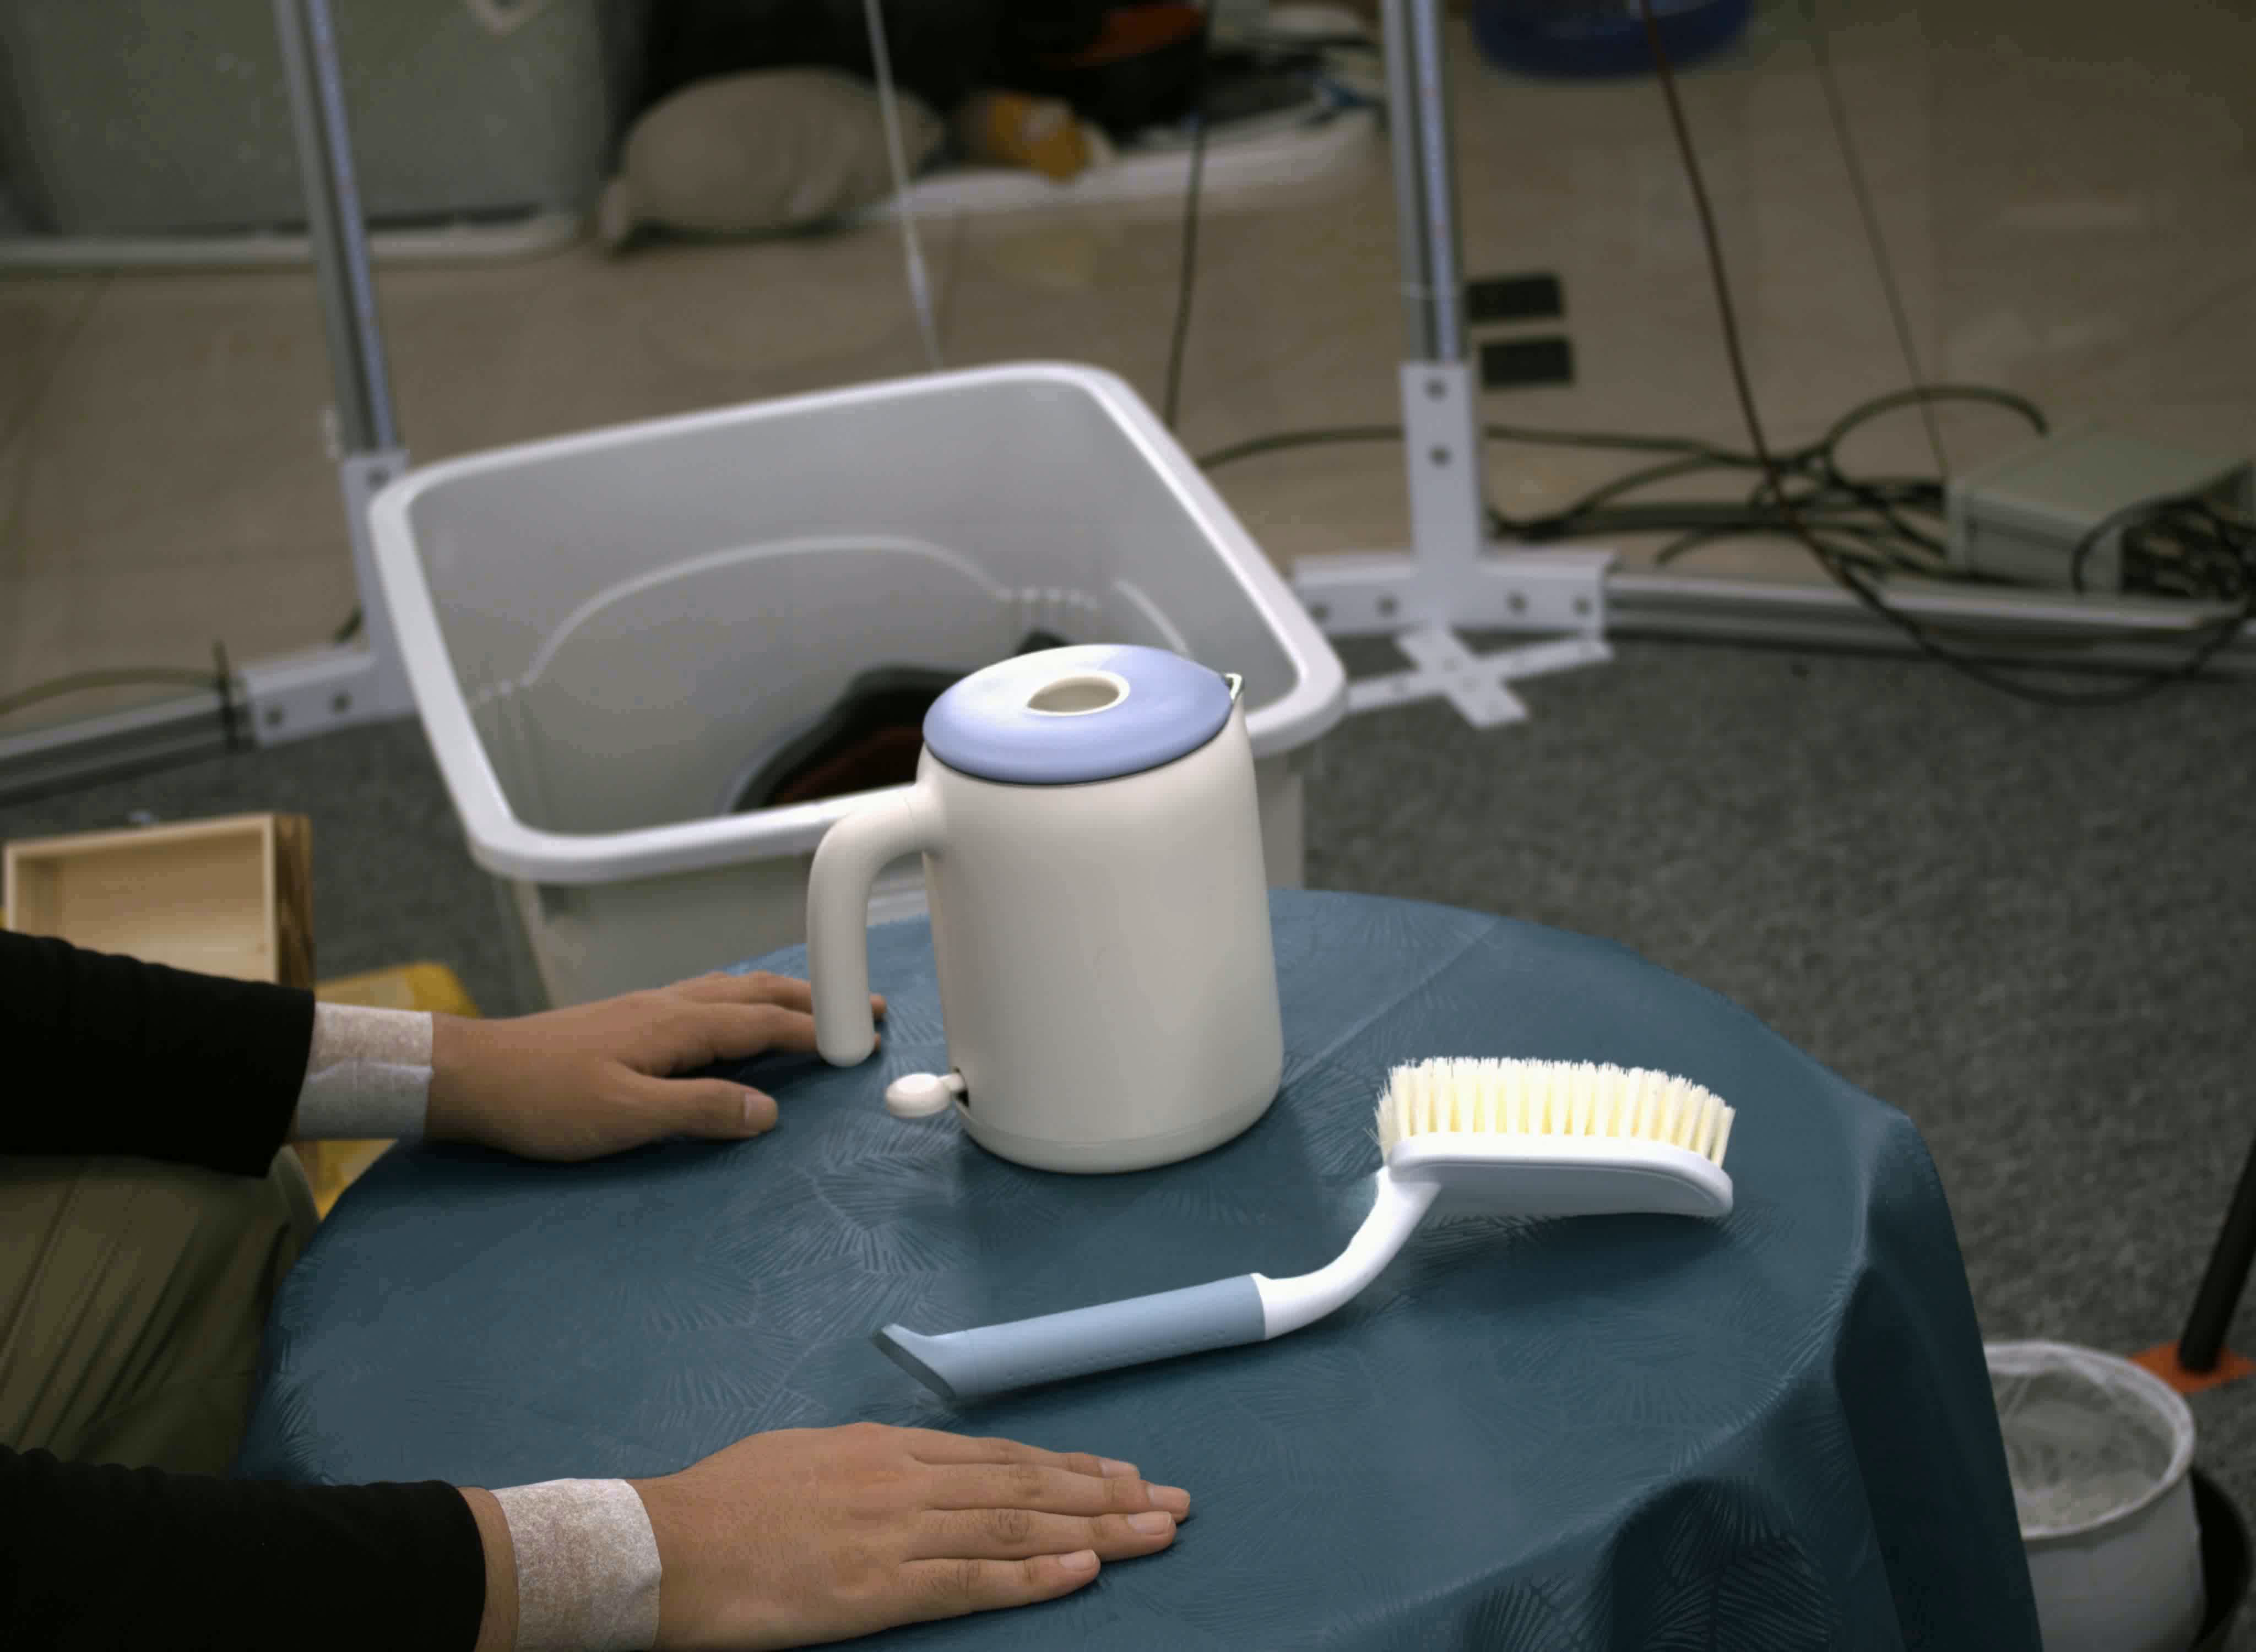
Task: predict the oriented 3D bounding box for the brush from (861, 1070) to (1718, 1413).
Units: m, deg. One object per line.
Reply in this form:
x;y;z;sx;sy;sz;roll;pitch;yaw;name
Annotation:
0.056;0.134;2.048;0.324;0.084;0.083;-10;32;-11;brush

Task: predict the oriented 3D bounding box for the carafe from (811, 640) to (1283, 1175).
-0.034;0.037;2.168;0.190;0.185;0.130;-17;27;-19;carafe
